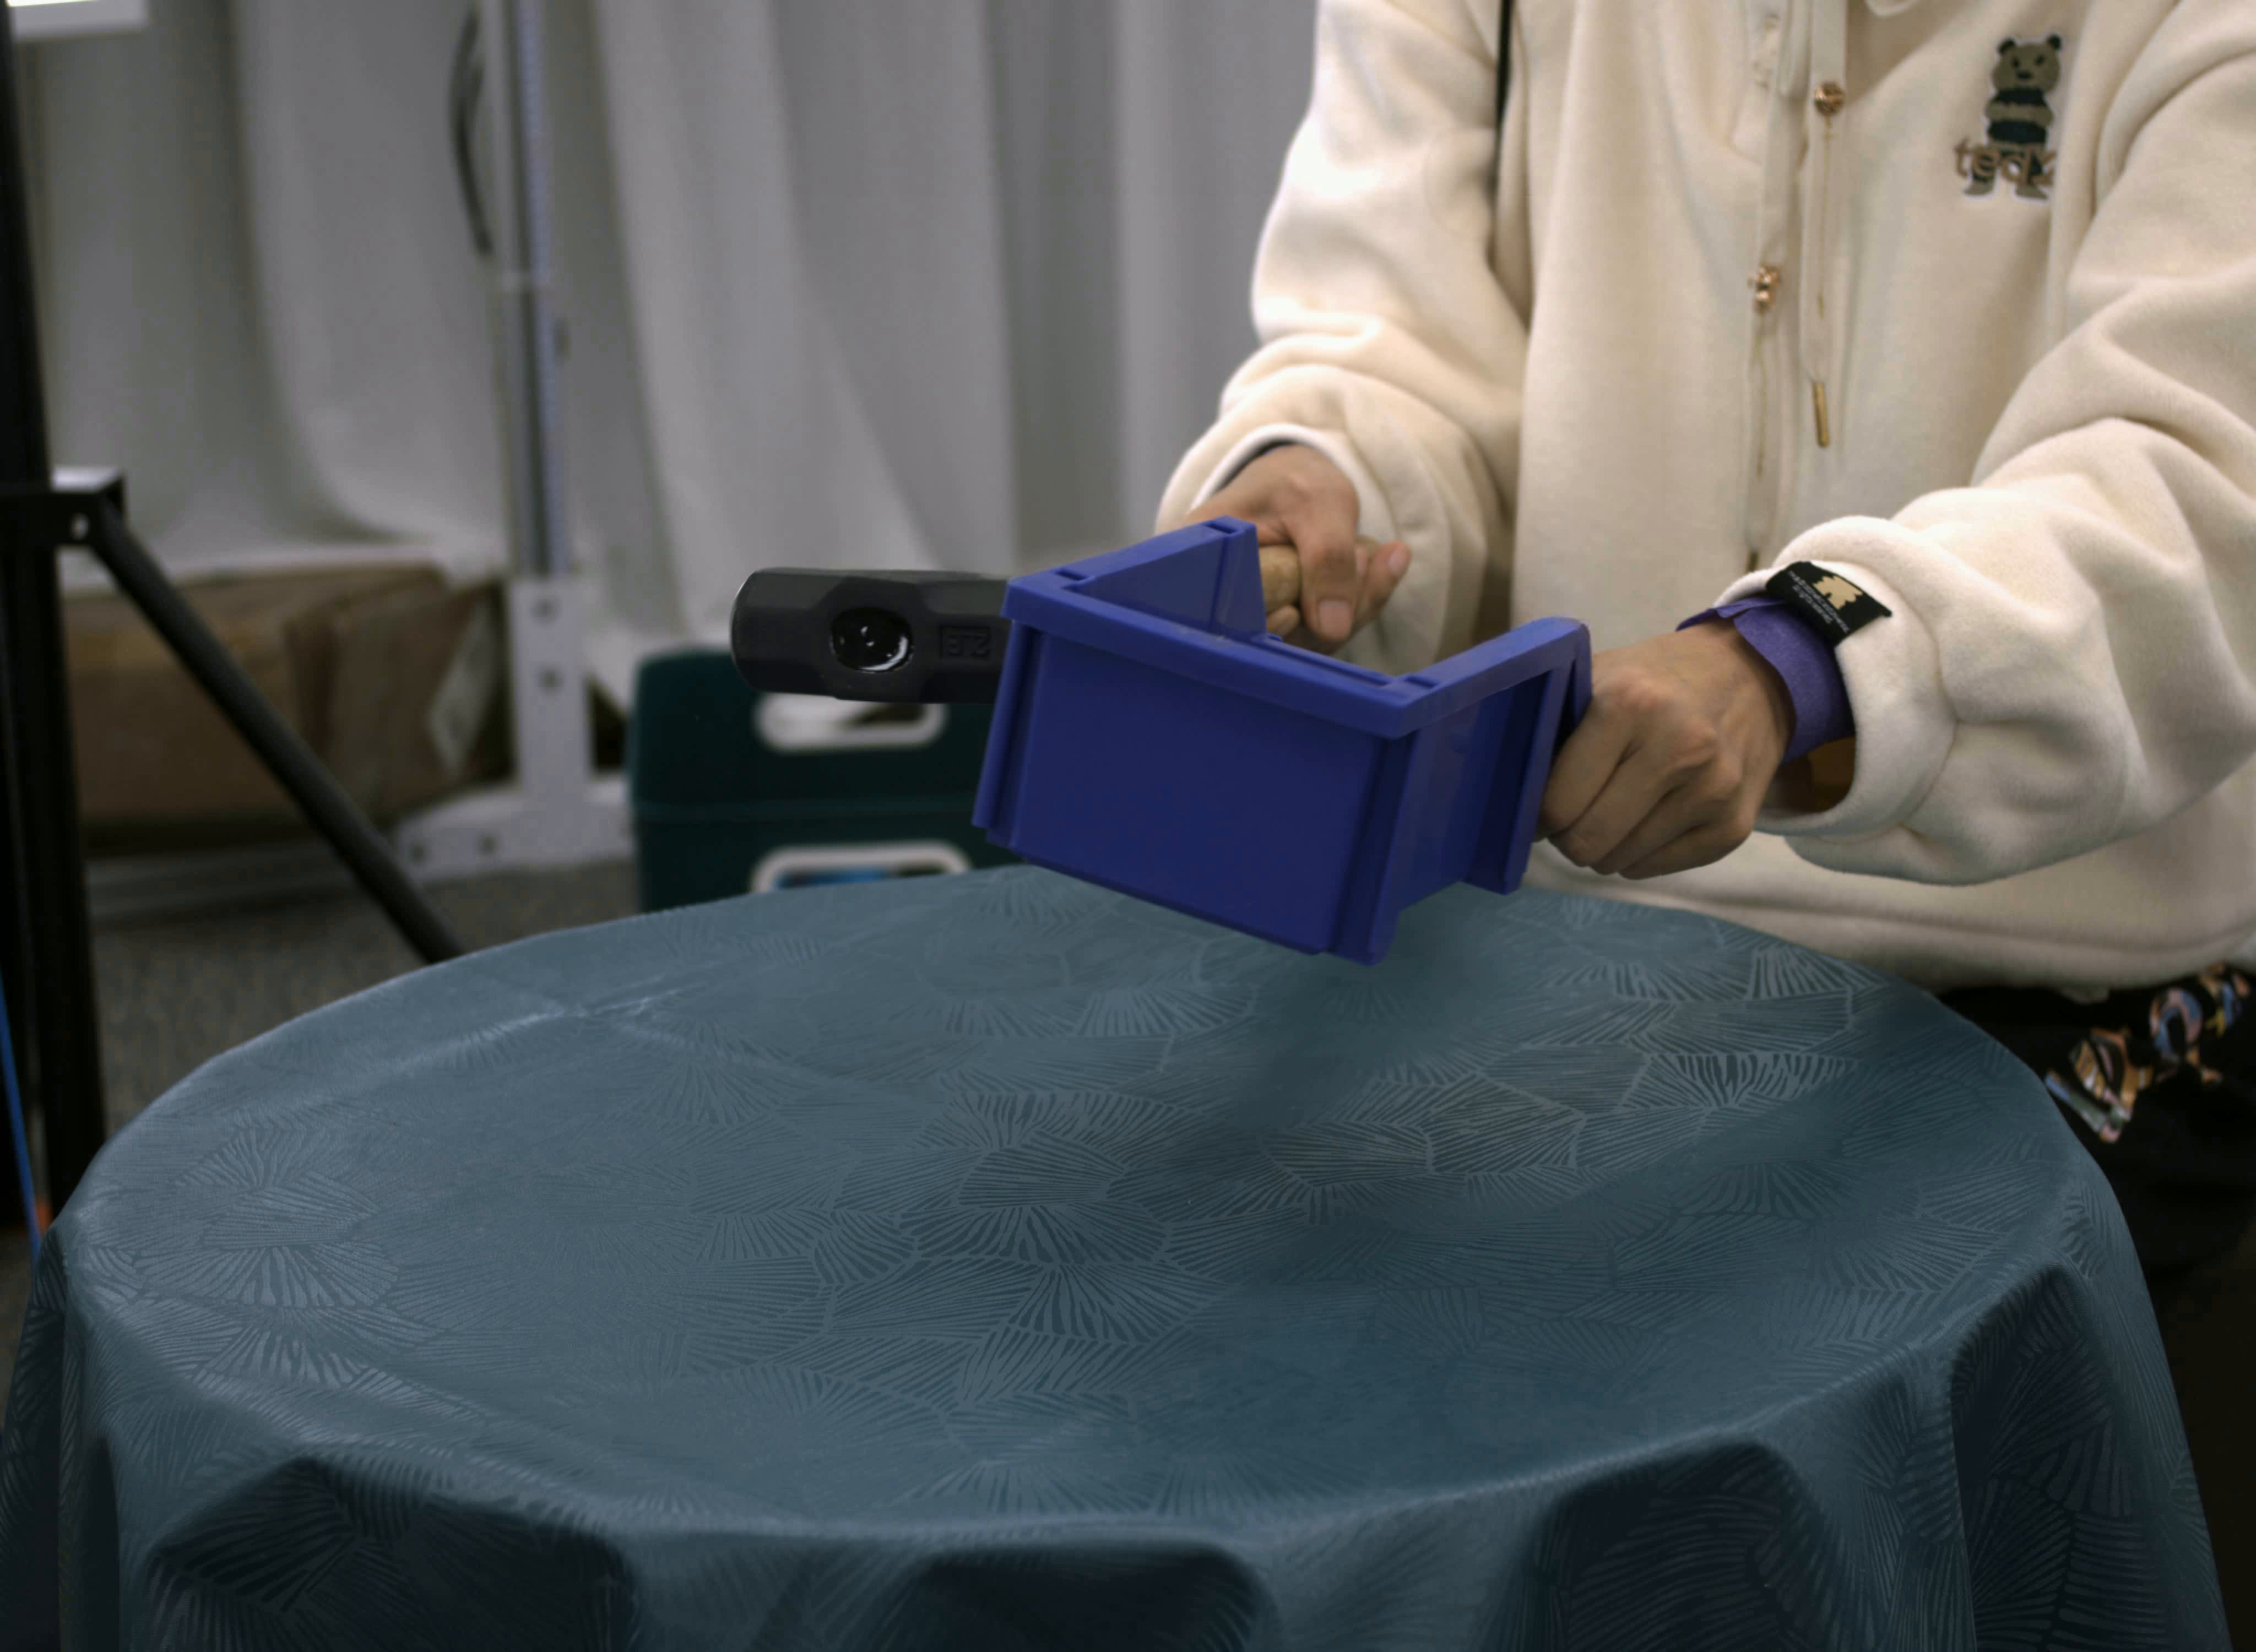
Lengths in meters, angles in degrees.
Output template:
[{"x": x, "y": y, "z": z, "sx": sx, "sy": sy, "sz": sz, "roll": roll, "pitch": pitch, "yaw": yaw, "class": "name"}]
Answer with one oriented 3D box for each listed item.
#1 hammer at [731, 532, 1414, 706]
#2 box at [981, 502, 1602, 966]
[{"x": 0.004, "y": -0.071, "z": 1.685, "sx": 0.109, "sy": 0.038, "sz": 0.298, "roll": 5, "pitch": 9, "yaw": 32, "class": "hammer"}, {"x": 0.050, "y": -0.031, "z": 1.524, "sx": 0.126, "sy": 0.082, "sz": 0.176, "roll": 18, "pitch": 20, "yaw": 23, "class": "box"}]
